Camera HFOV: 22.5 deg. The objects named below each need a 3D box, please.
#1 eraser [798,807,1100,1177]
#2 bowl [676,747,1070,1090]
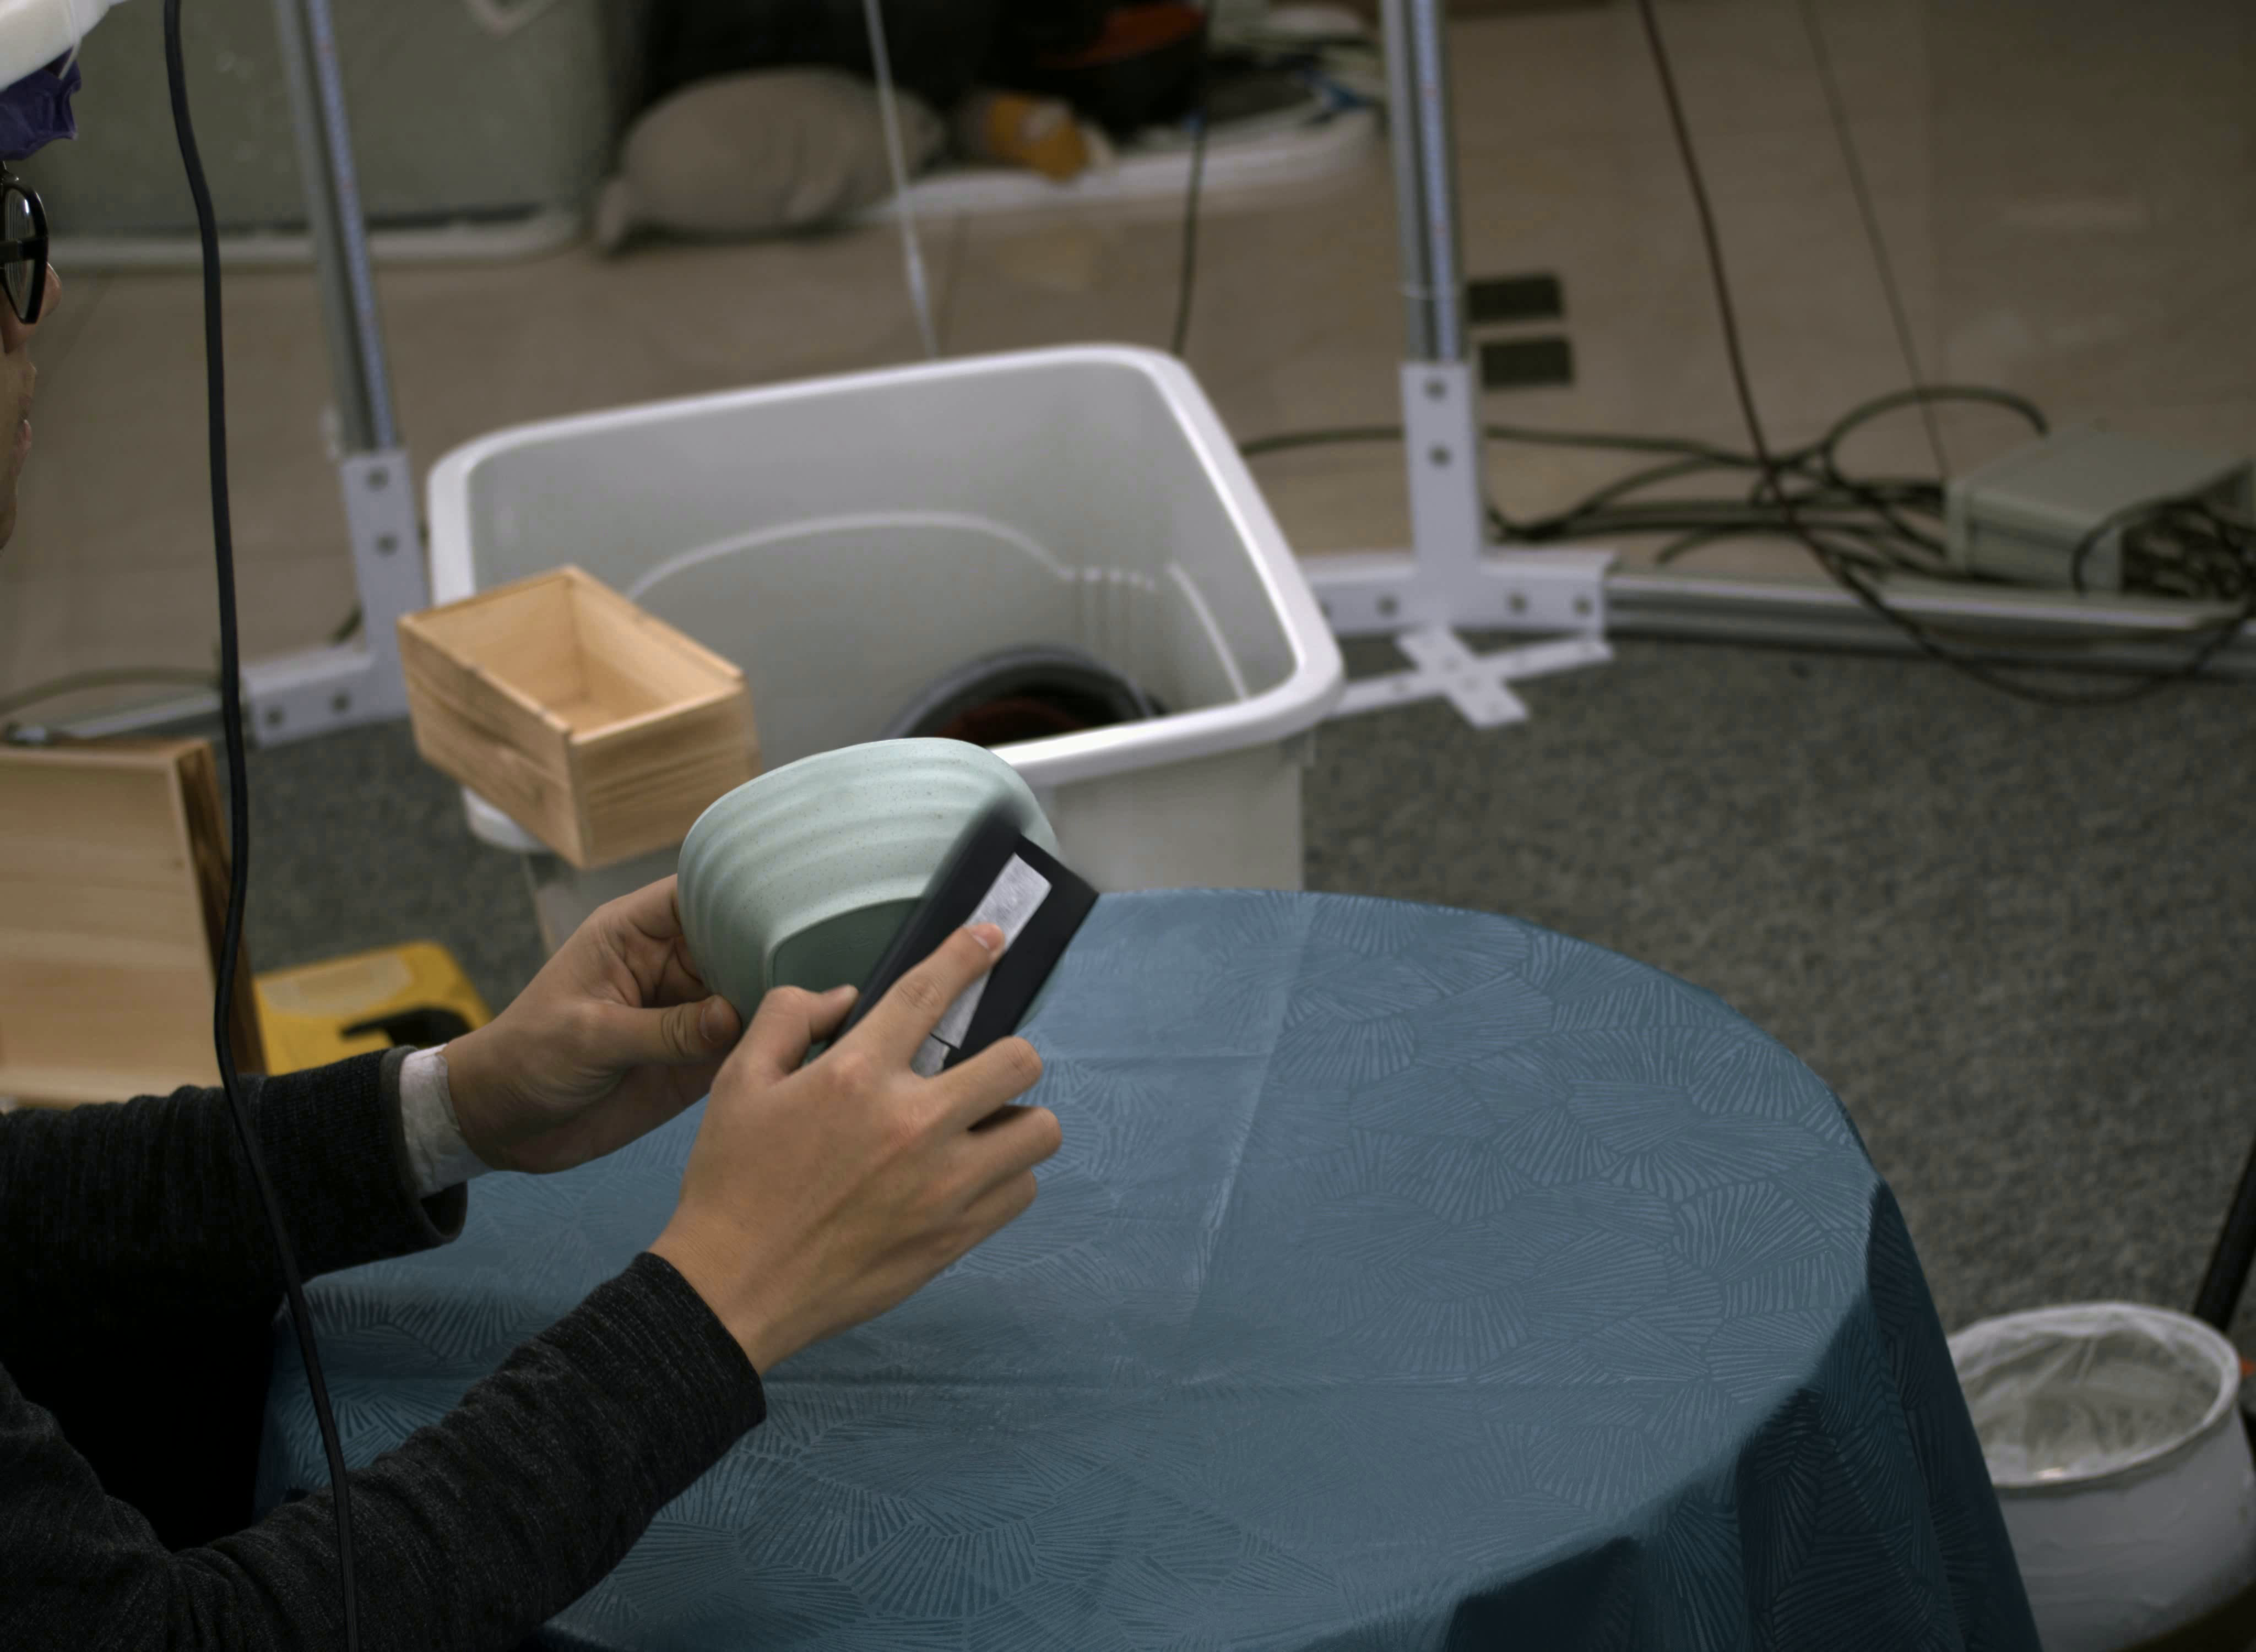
[{"bbox_3d":[-0.062,0.056,1.947,0.053,0.031,0.124,31,66,-2],"label":"eraser"},{"bbox_3d":[-0.089,0.045,2.017,0.151,0.154,0.057,-7,39,-2],"label":"bowl"}]
